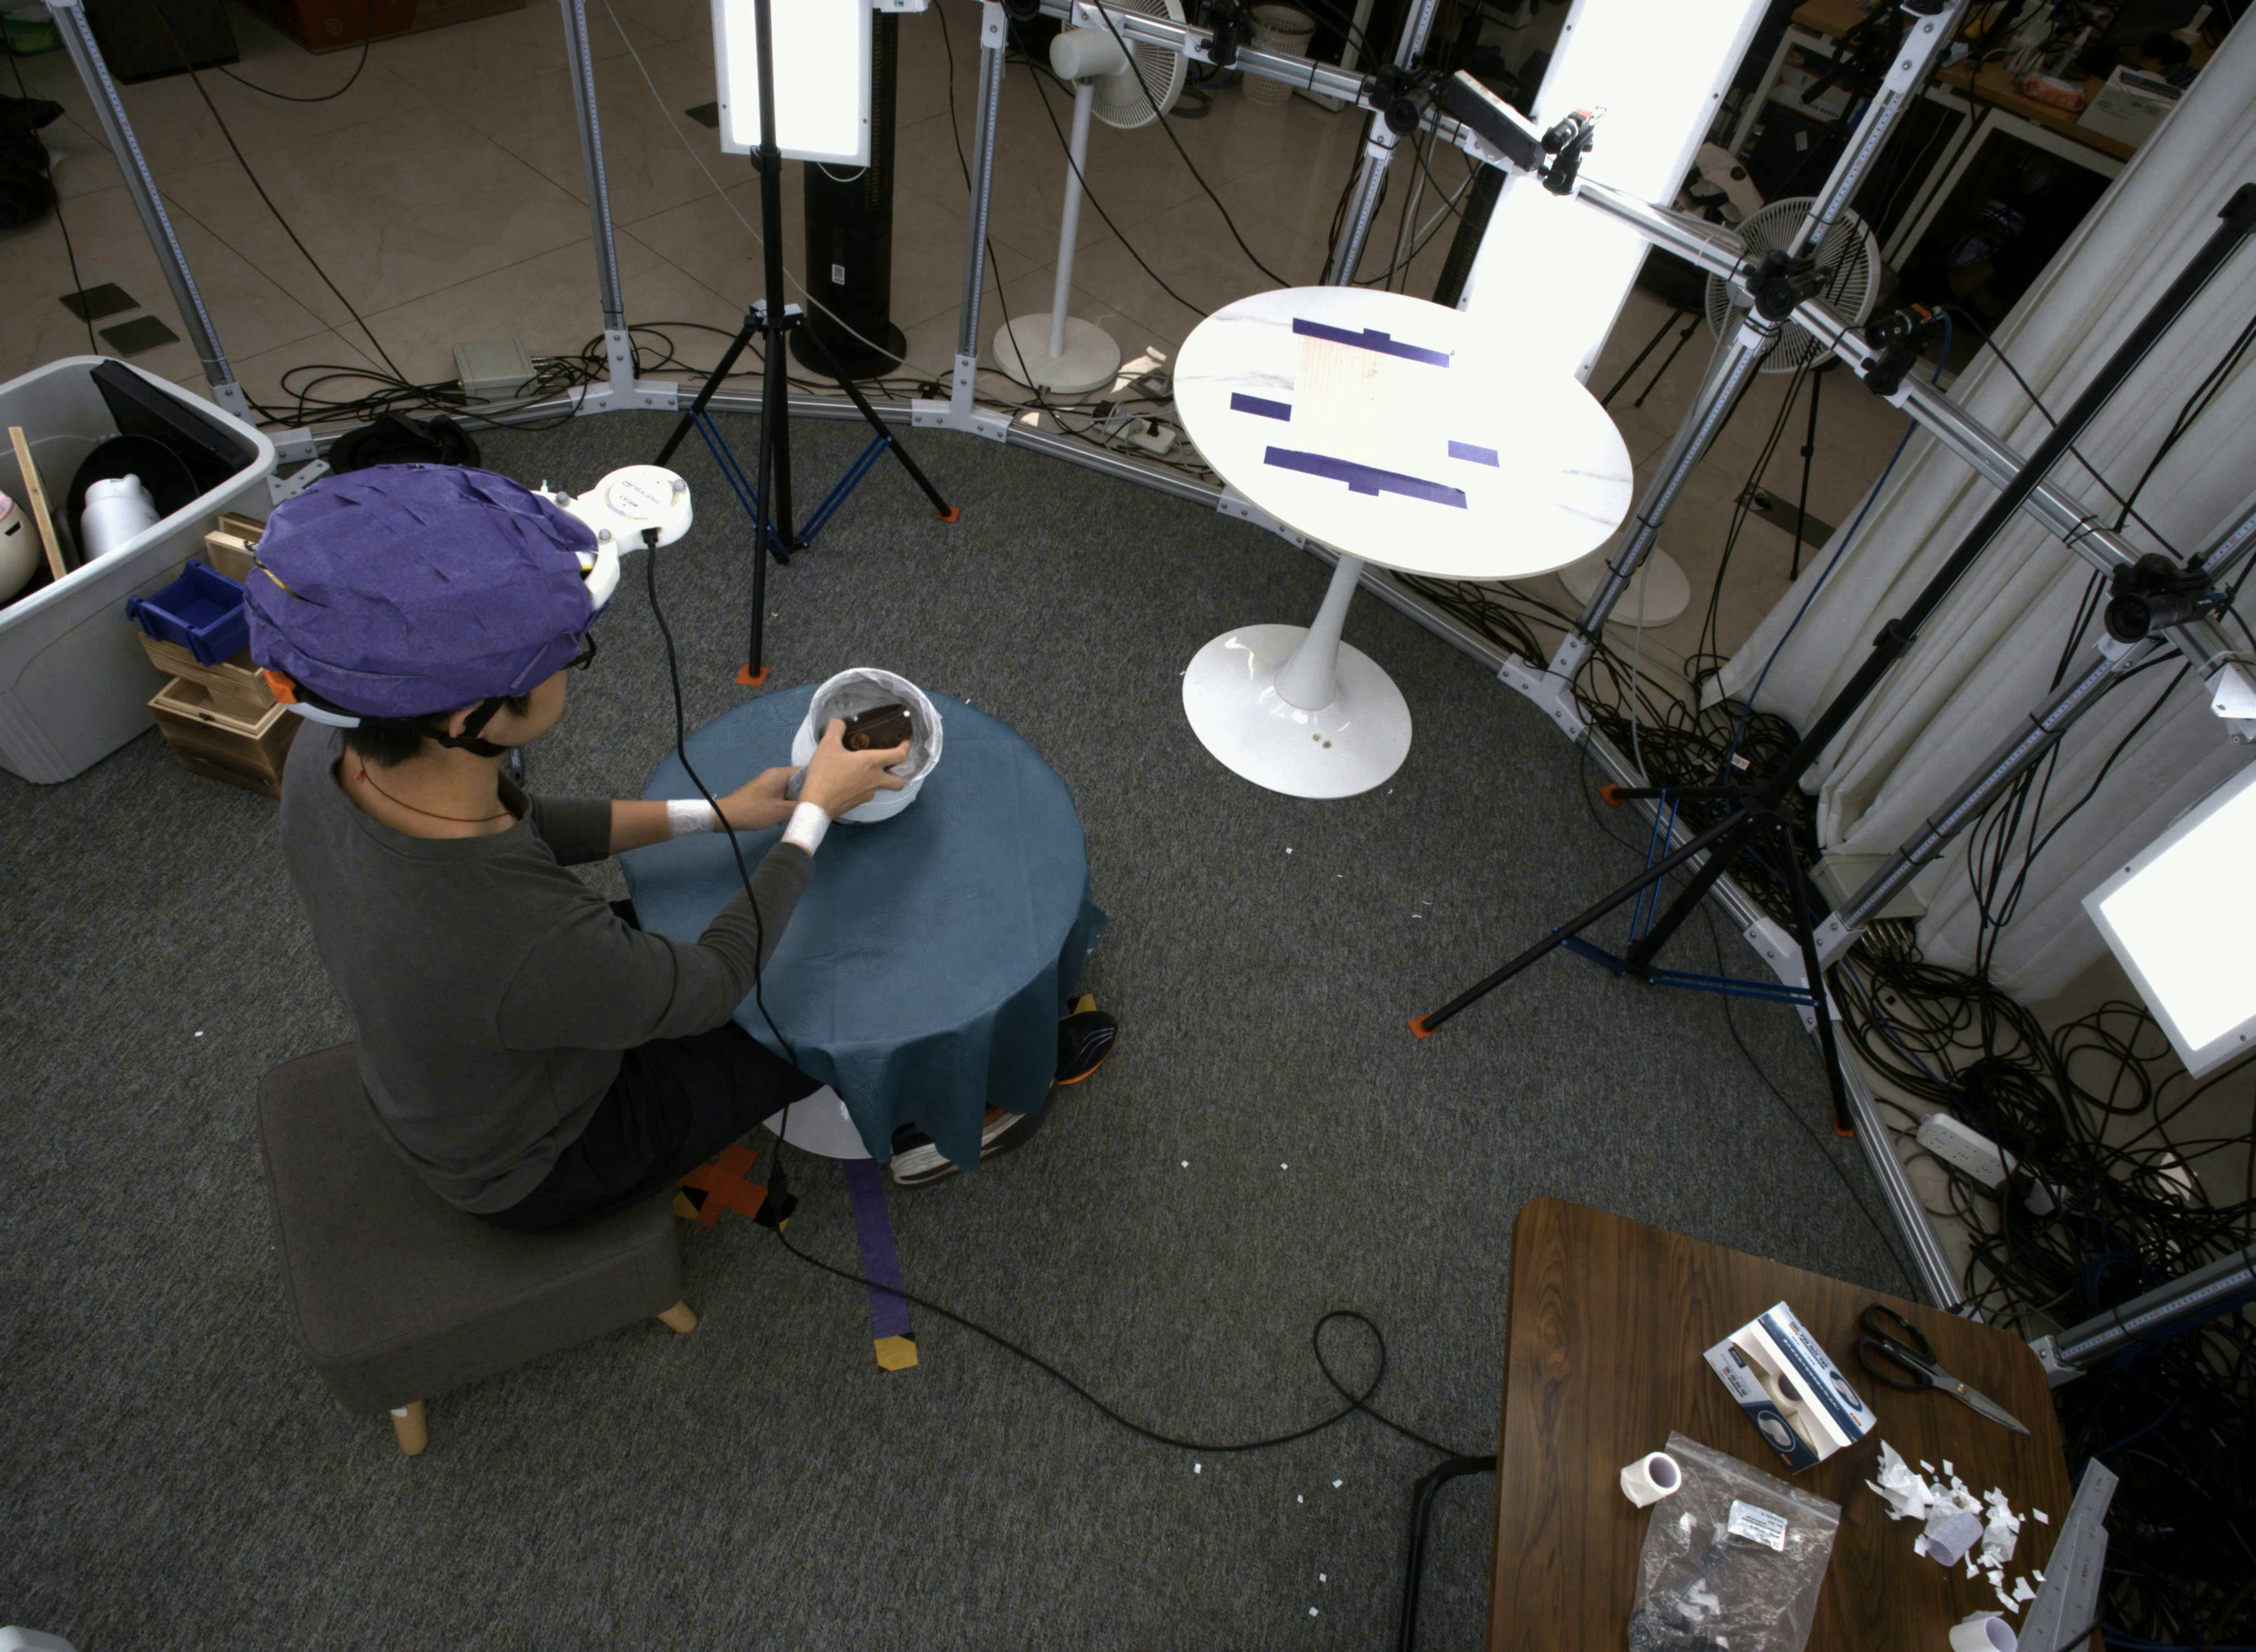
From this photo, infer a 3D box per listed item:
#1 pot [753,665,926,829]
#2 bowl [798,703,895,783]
[{"bbox_3d":[-0.387,-0.085,1.700,0.179,0.136,0.234,48,54,0],"label":"pot"},{"bbox_3d":[-0.346,-0.098,1.627,0.116,0.072,0.116,-21,20,10],"label":"bowl"}]
